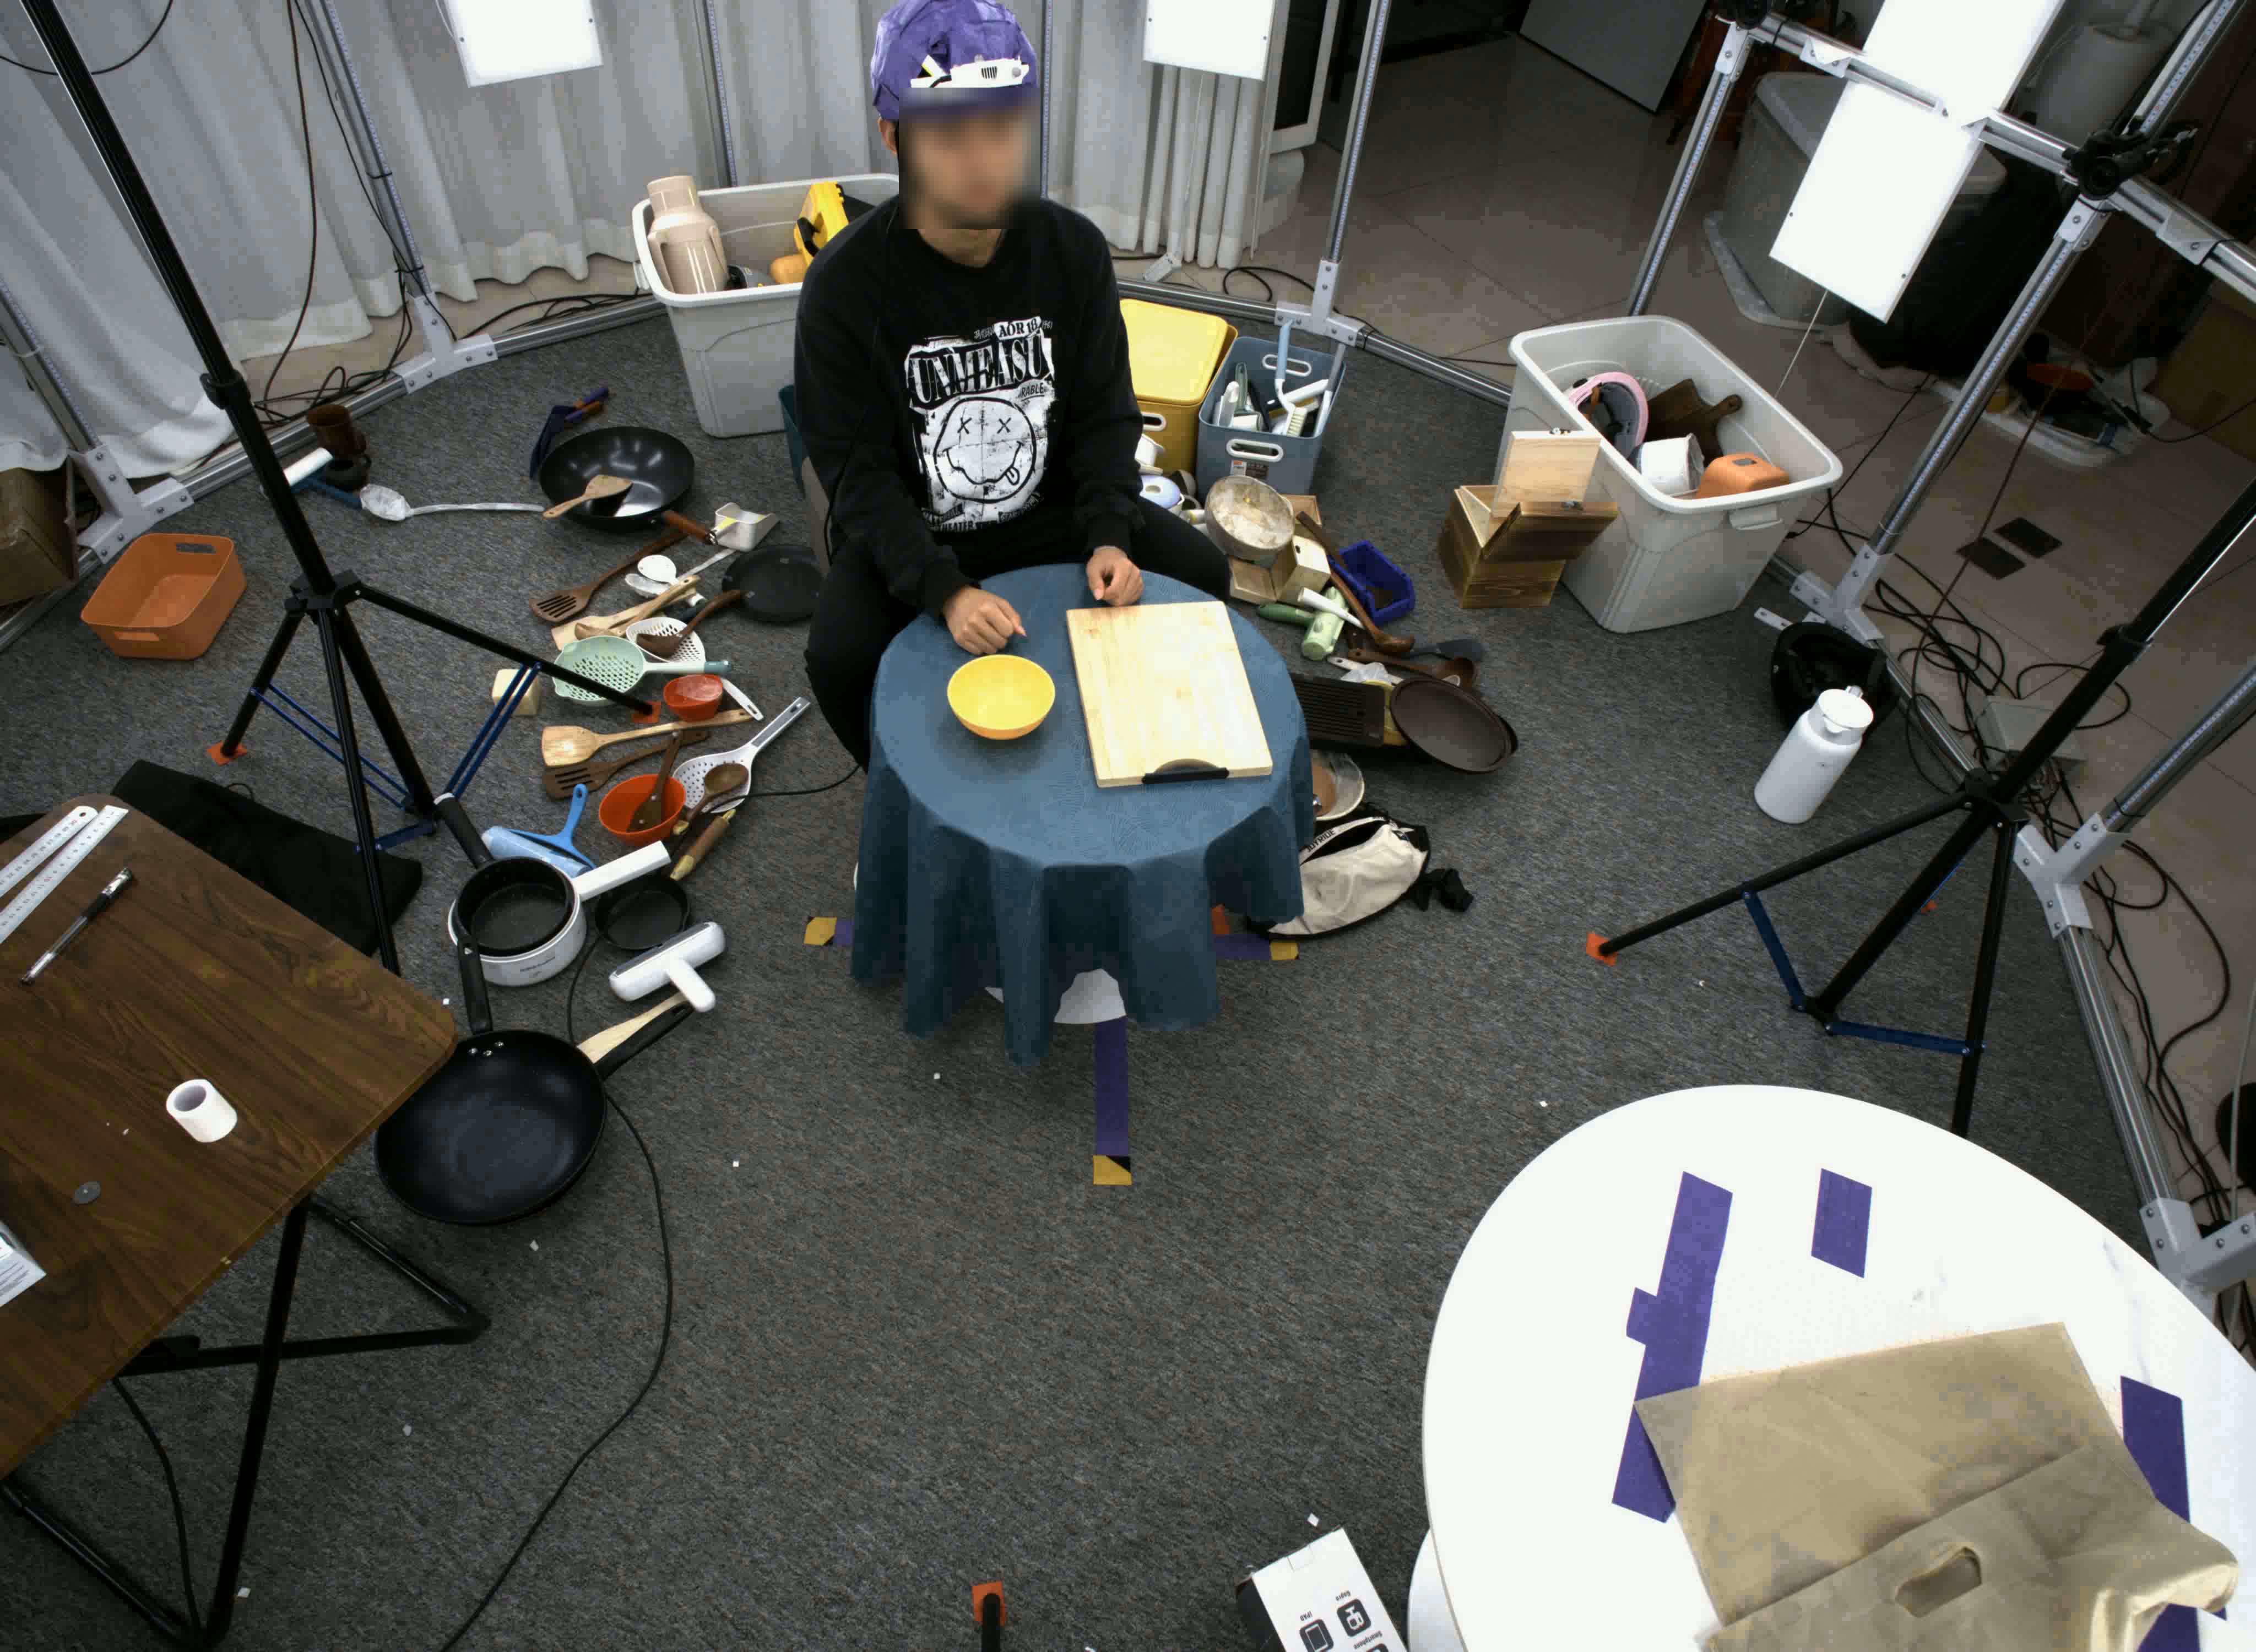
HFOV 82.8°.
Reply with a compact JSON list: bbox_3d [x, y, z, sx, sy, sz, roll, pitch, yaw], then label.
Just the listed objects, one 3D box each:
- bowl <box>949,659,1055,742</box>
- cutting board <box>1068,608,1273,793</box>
[{"bbox_3d":[-0.175,-0.162,1.778,0.145,0.058,0.149,3,47,-4],"label":"bowl"},{"bbox_3d":[0.053,-0.190,1.843,0.250,0.023,0.357,-6,49,-8],"label":"cutting board"}]
